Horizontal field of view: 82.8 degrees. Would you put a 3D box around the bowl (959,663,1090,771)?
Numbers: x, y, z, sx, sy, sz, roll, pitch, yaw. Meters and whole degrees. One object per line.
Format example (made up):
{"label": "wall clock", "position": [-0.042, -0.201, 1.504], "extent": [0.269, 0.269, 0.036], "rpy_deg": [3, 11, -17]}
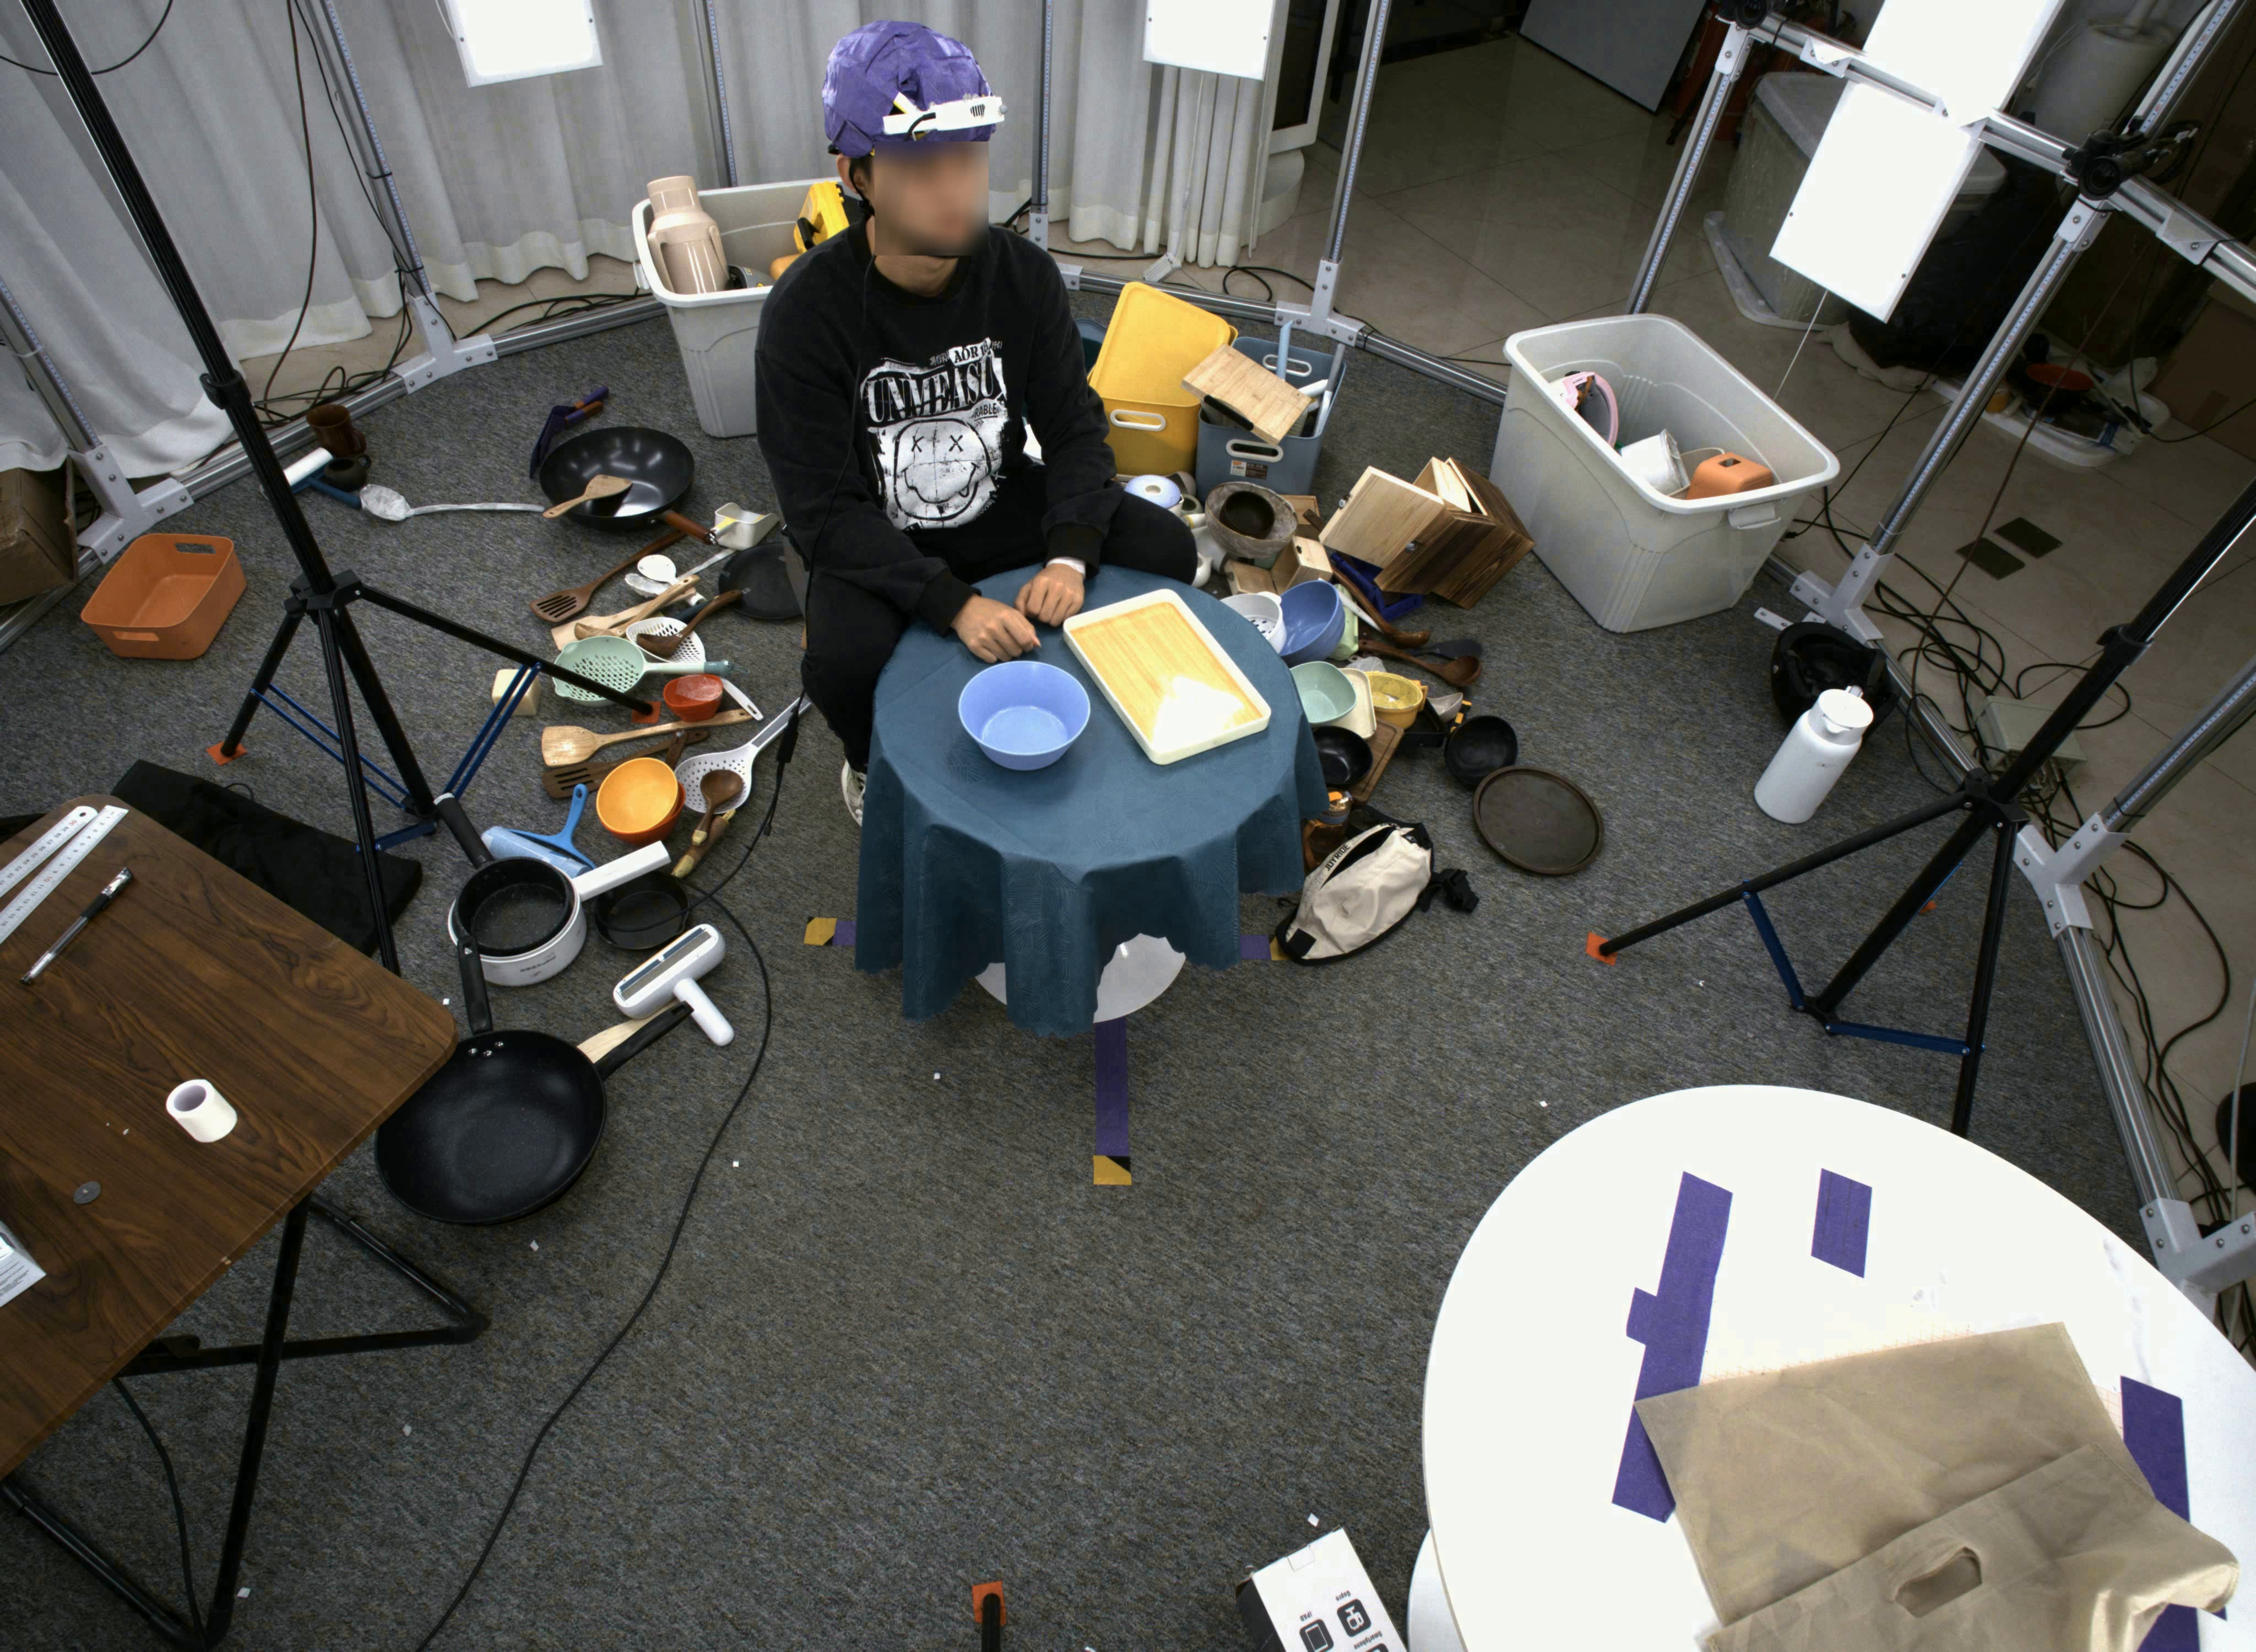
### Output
{"label": "bowl", "position": [-0.140, -0.140, 1.750], "extent": [0.176, 0.068, 0.180], "rpy_deg": [2, 49, -3]}

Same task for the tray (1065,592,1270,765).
{"label": "tray", "position": [0.053, -0.220, 1.862], "extent": [0.192, 0.027, 0.307], "rpy_deg": [-20, 53, -20]}
